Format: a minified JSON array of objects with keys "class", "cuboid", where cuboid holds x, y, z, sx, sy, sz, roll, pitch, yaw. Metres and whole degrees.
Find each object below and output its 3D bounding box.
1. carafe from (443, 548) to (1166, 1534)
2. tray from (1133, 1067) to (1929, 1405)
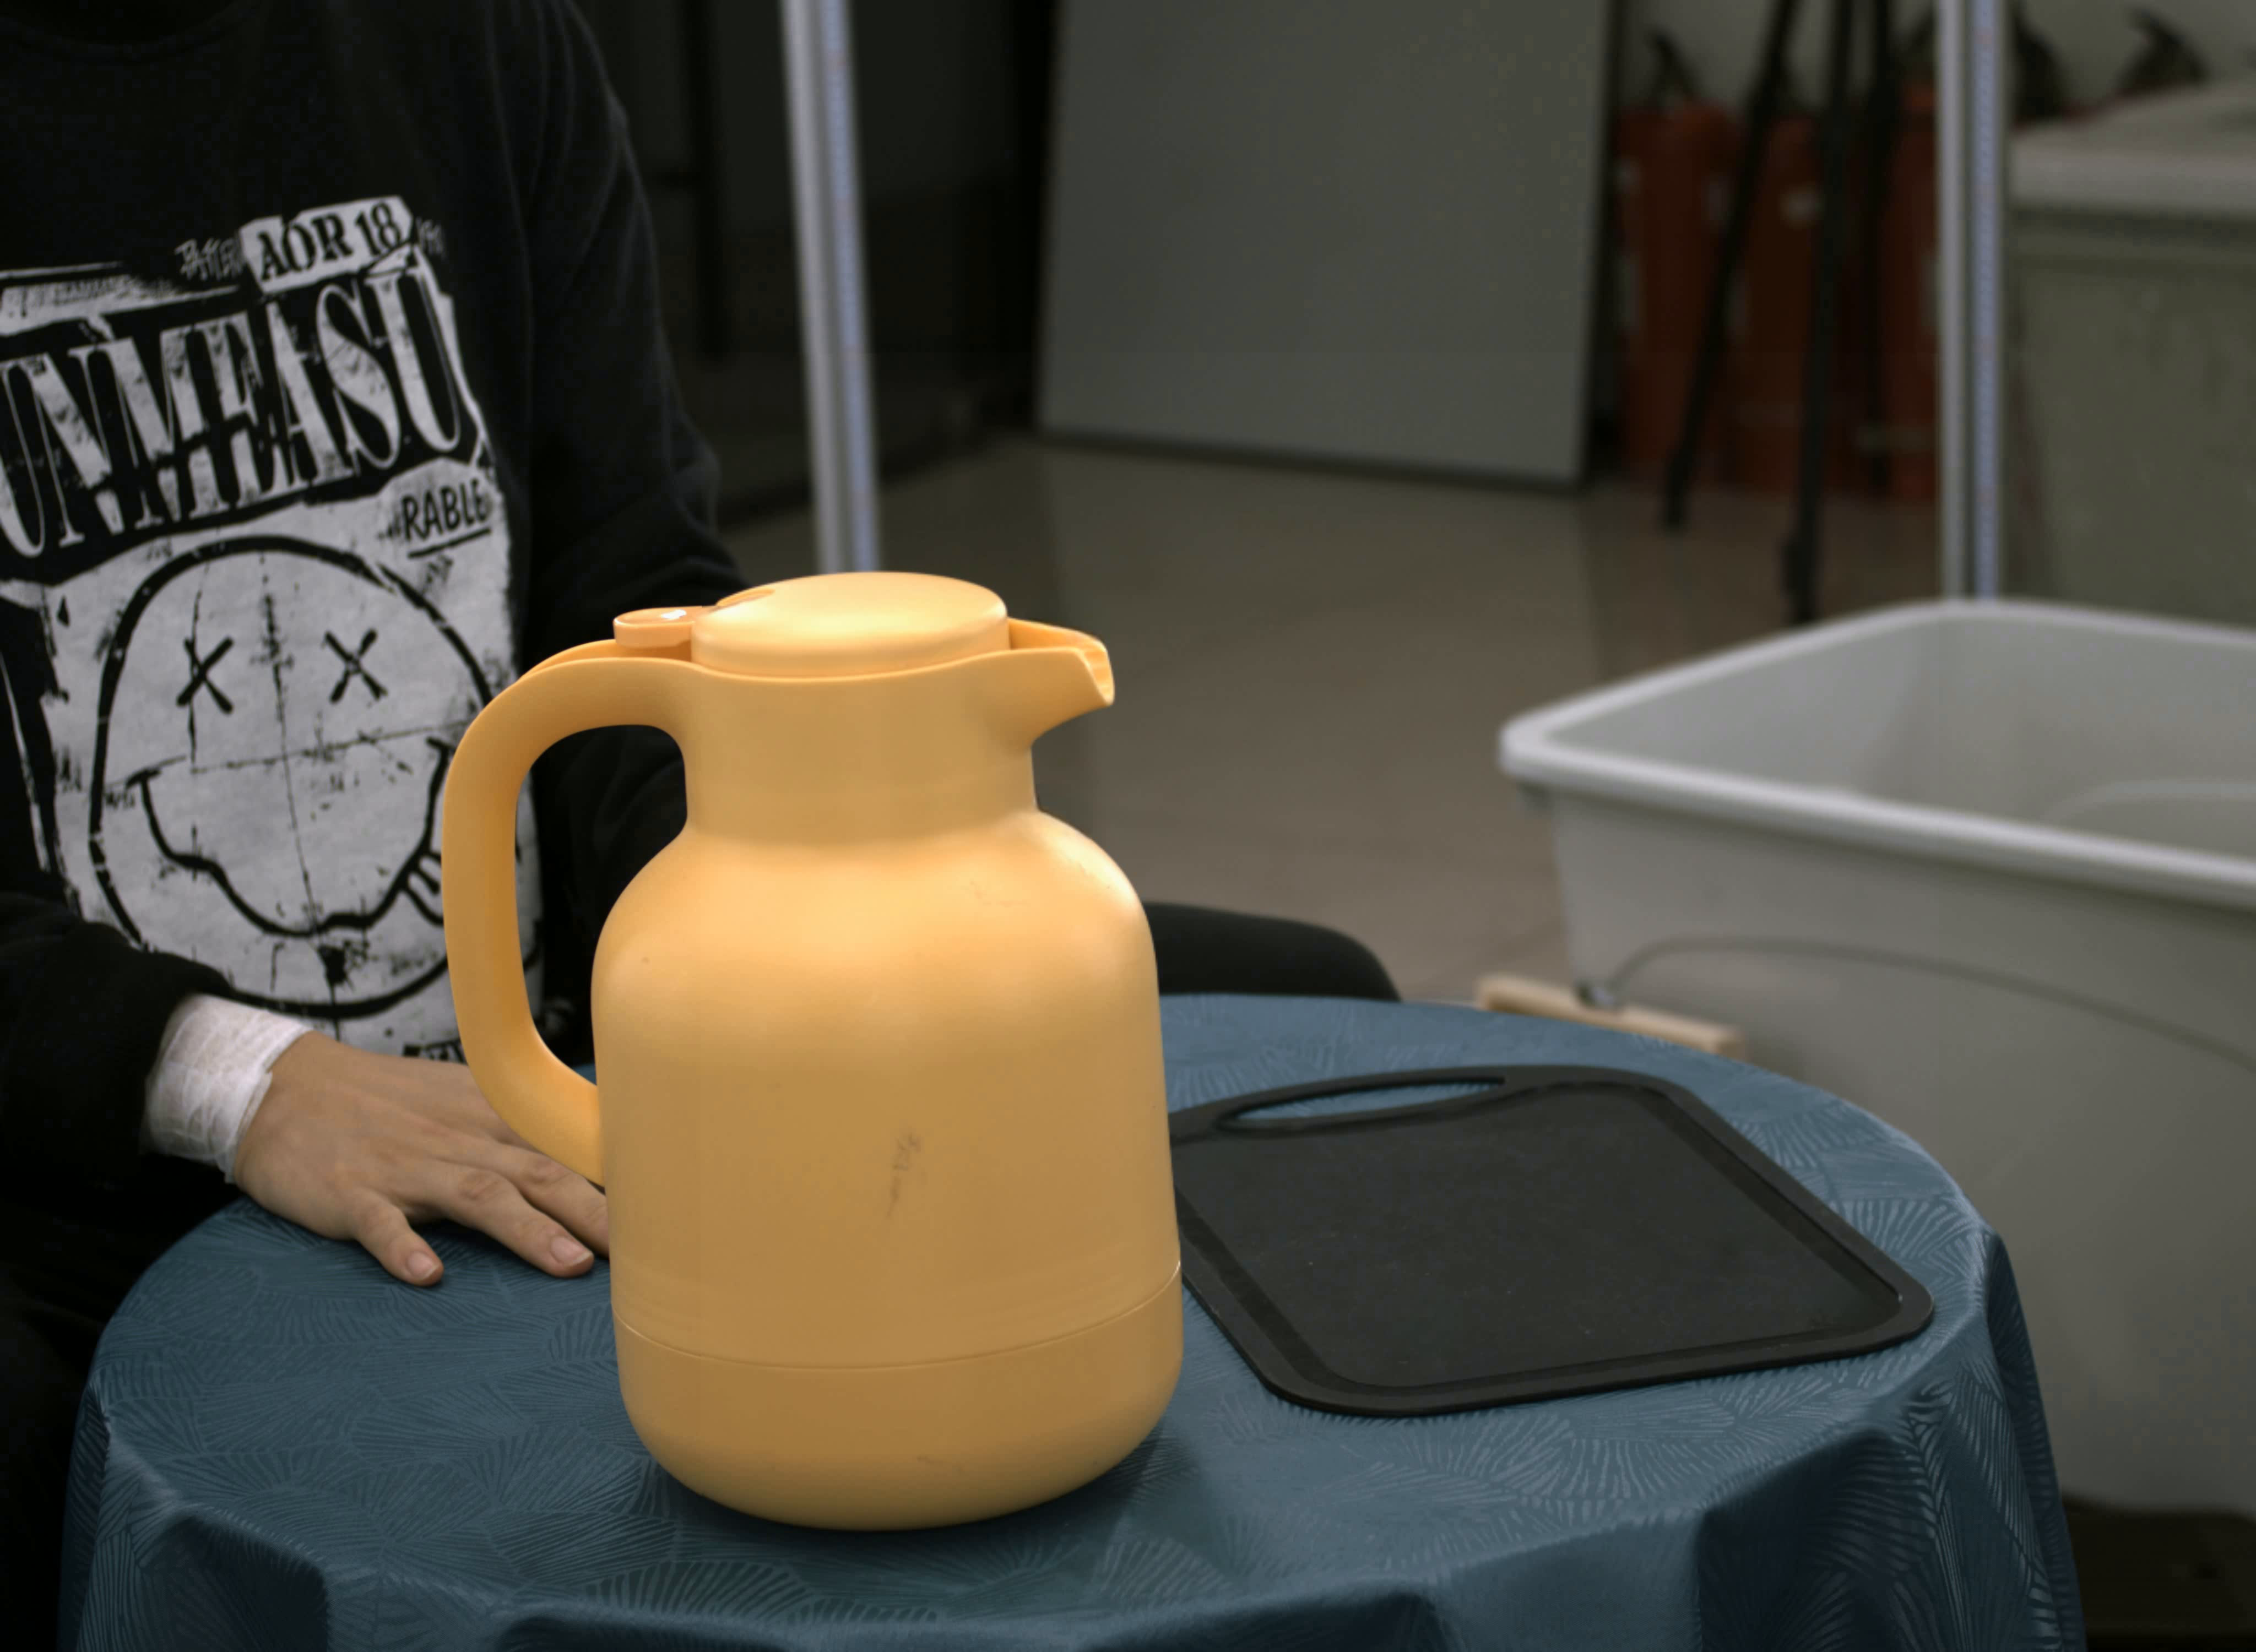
[{"class":"carafe","cuboid":[-0.091,0.055,1.519,0.201,0.263,0.162,1,12,14]},{"class":"tray","cuboid":[0.113,0.124,1.715,0.207,0.010,0.327,-7,14,-11]}]
